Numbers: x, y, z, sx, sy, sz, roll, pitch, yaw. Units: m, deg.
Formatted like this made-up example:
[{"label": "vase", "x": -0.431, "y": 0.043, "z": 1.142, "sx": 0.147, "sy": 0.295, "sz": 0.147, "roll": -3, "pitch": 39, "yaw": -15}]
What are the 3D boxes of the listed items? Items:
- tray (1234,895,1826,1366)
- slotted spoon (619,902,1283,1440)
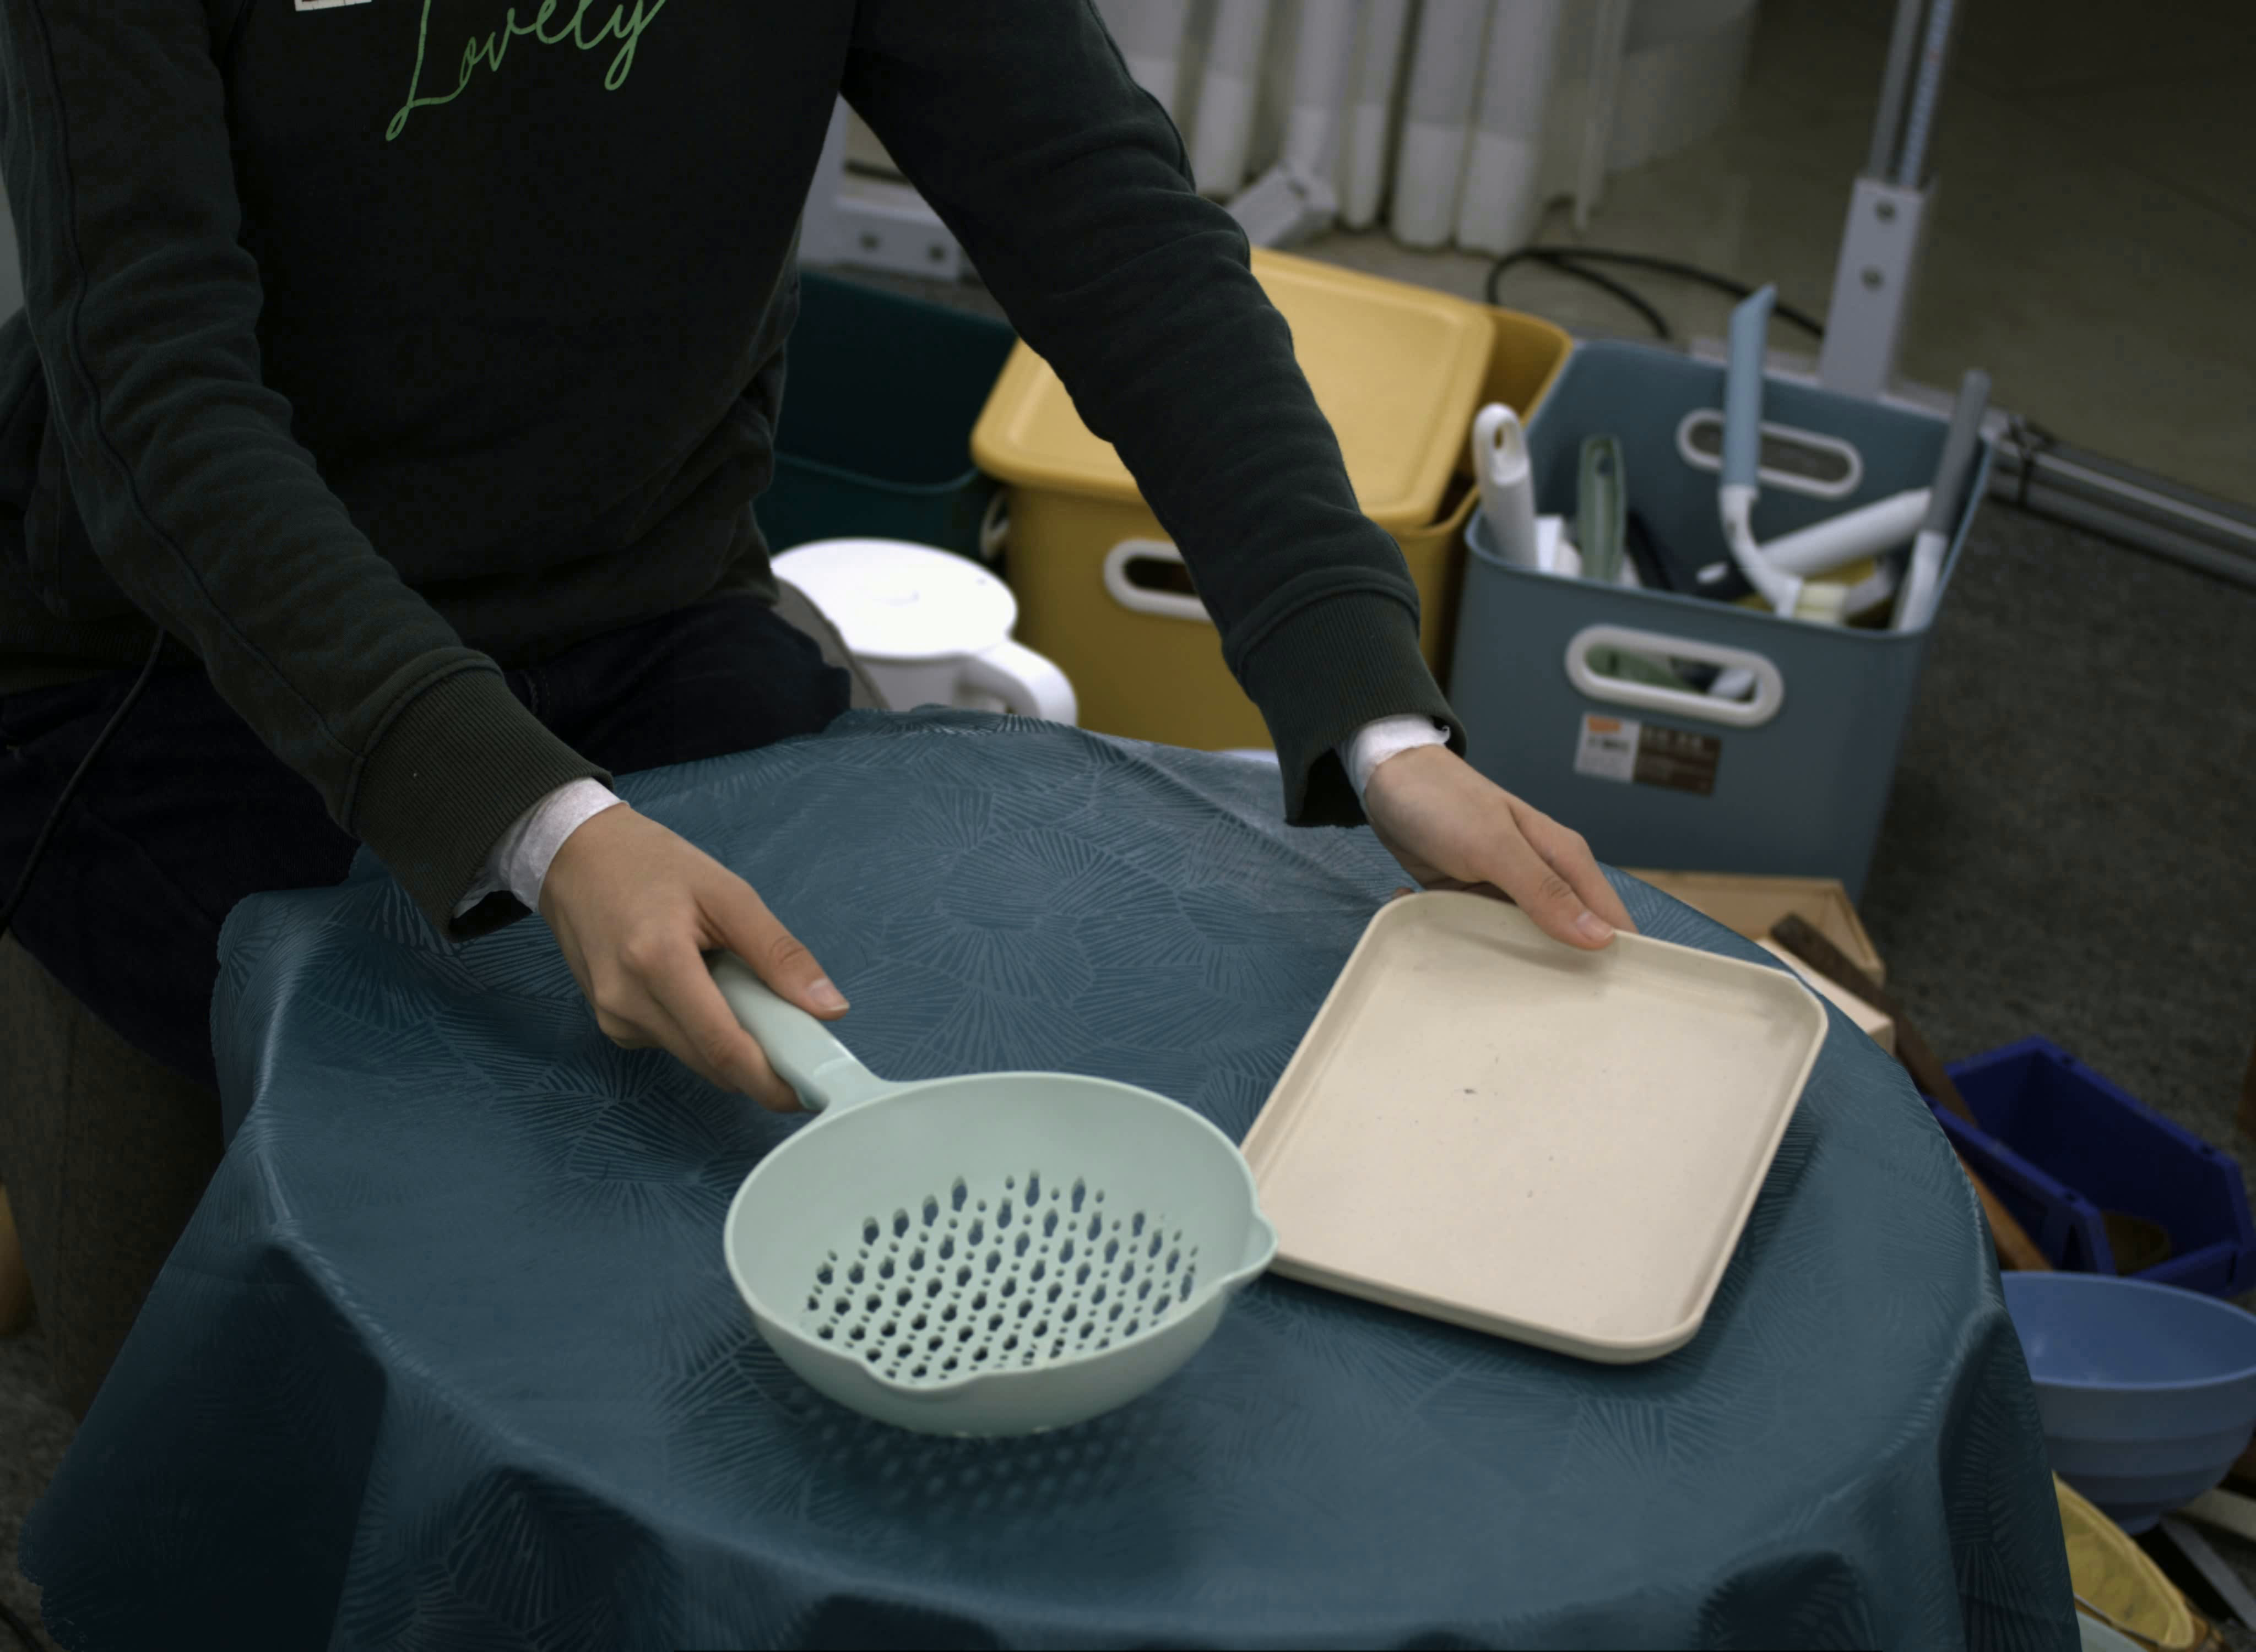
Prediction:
[{"label": "tray", "x": 0.138, "y": 0.103, "z": 1.830, "sx": 0.171, "sy": 0.017, "sz": 0.240, "roll": 14, "pitch": 33, "yaw": 14}, {"label": "slotted spoon", "x": -0.089, "y": 0.095, "z": 1.746, "sx": 0.168, "sy": 0.075, "sz": 0.362, "roll": -18, "pitch": 39, "yaw": -24}]
